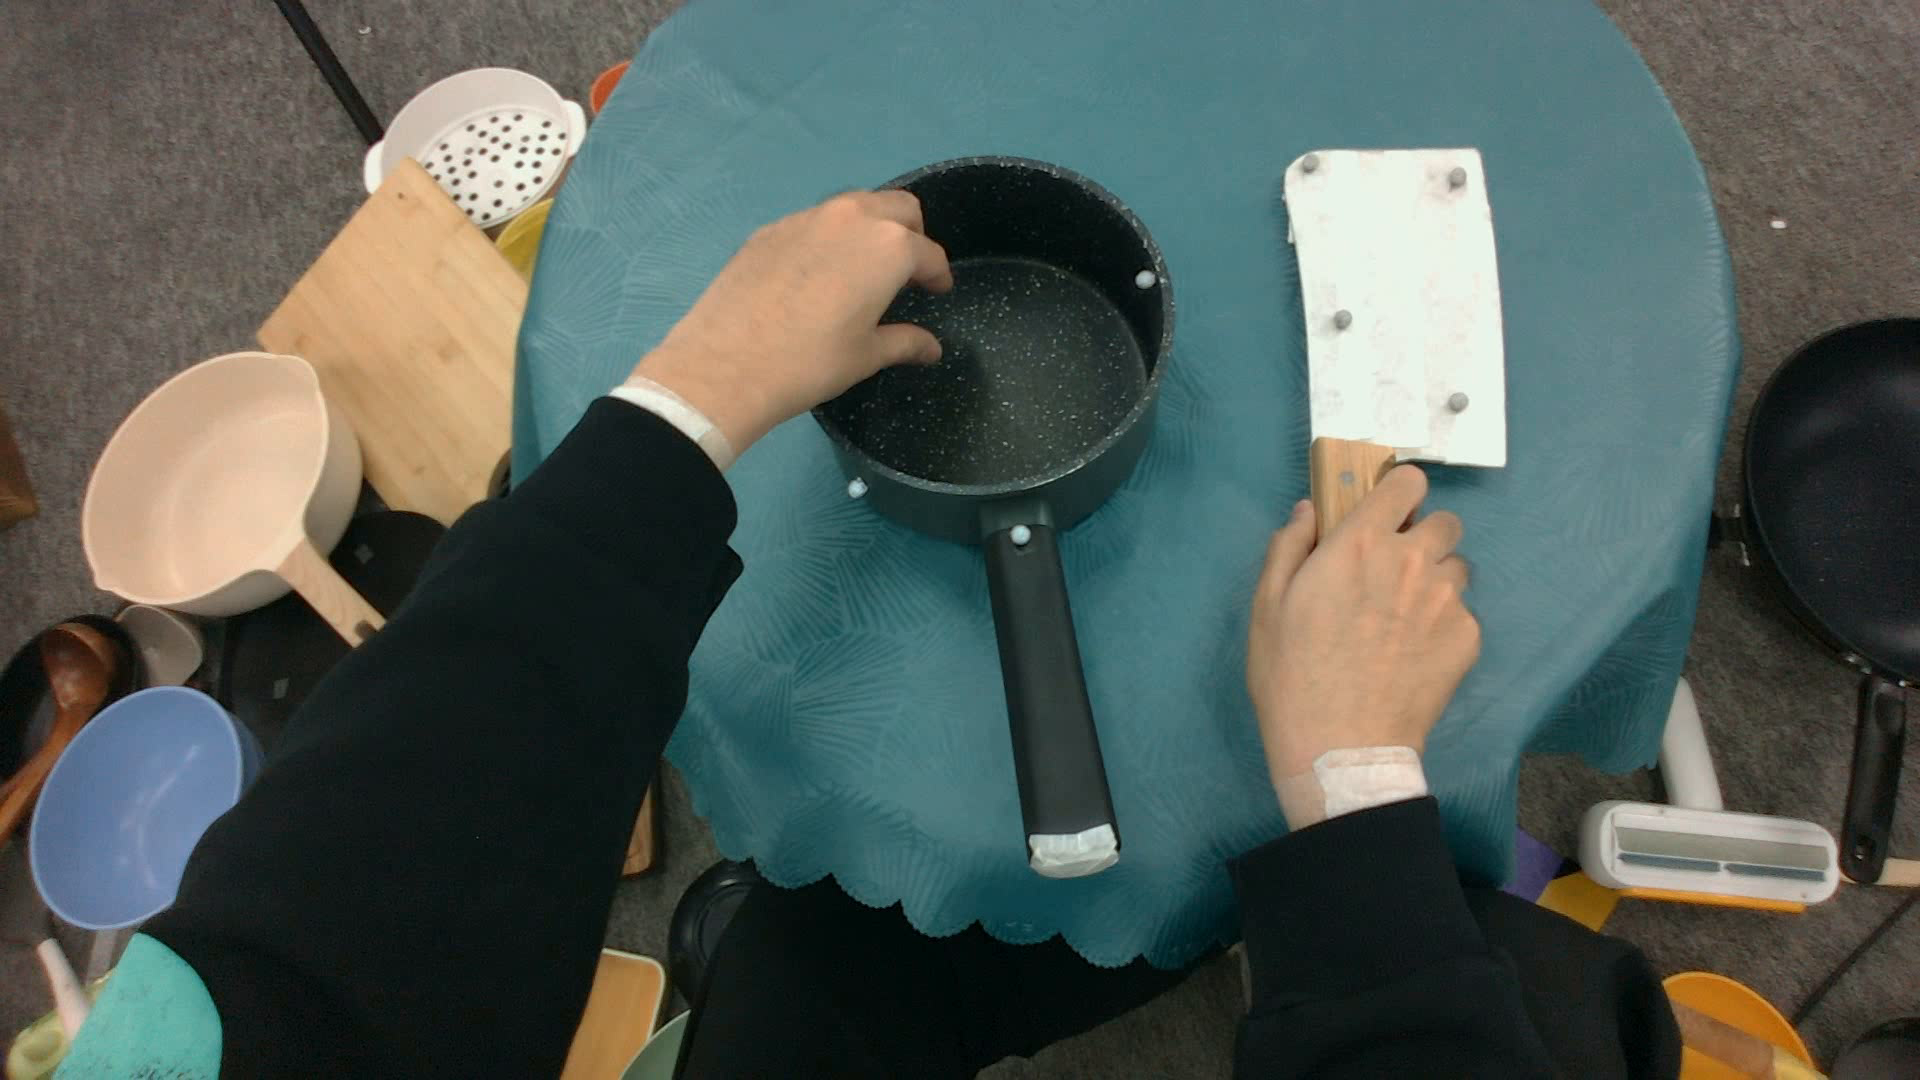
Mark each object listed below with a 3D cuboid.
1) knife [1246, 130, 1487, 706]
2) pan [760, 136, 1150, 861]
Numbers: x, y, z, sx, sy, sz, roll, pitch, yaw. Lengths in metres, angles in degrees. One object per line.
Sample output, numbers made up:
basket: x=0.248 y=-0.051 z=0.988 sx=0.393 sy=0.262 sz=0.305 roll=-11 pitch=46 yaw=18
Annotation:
knife: x=0.186 y=-0.073 z=0.638 sx=0.114 sy=0.021 sz=0.316 roll=7 pitch=64 yaw=3
pan: x=0.010 y=-0.021 z=0.604 sx=0.172 sy=0.086 sz=0.329 roll=-9 pitch=67 yaw=3
